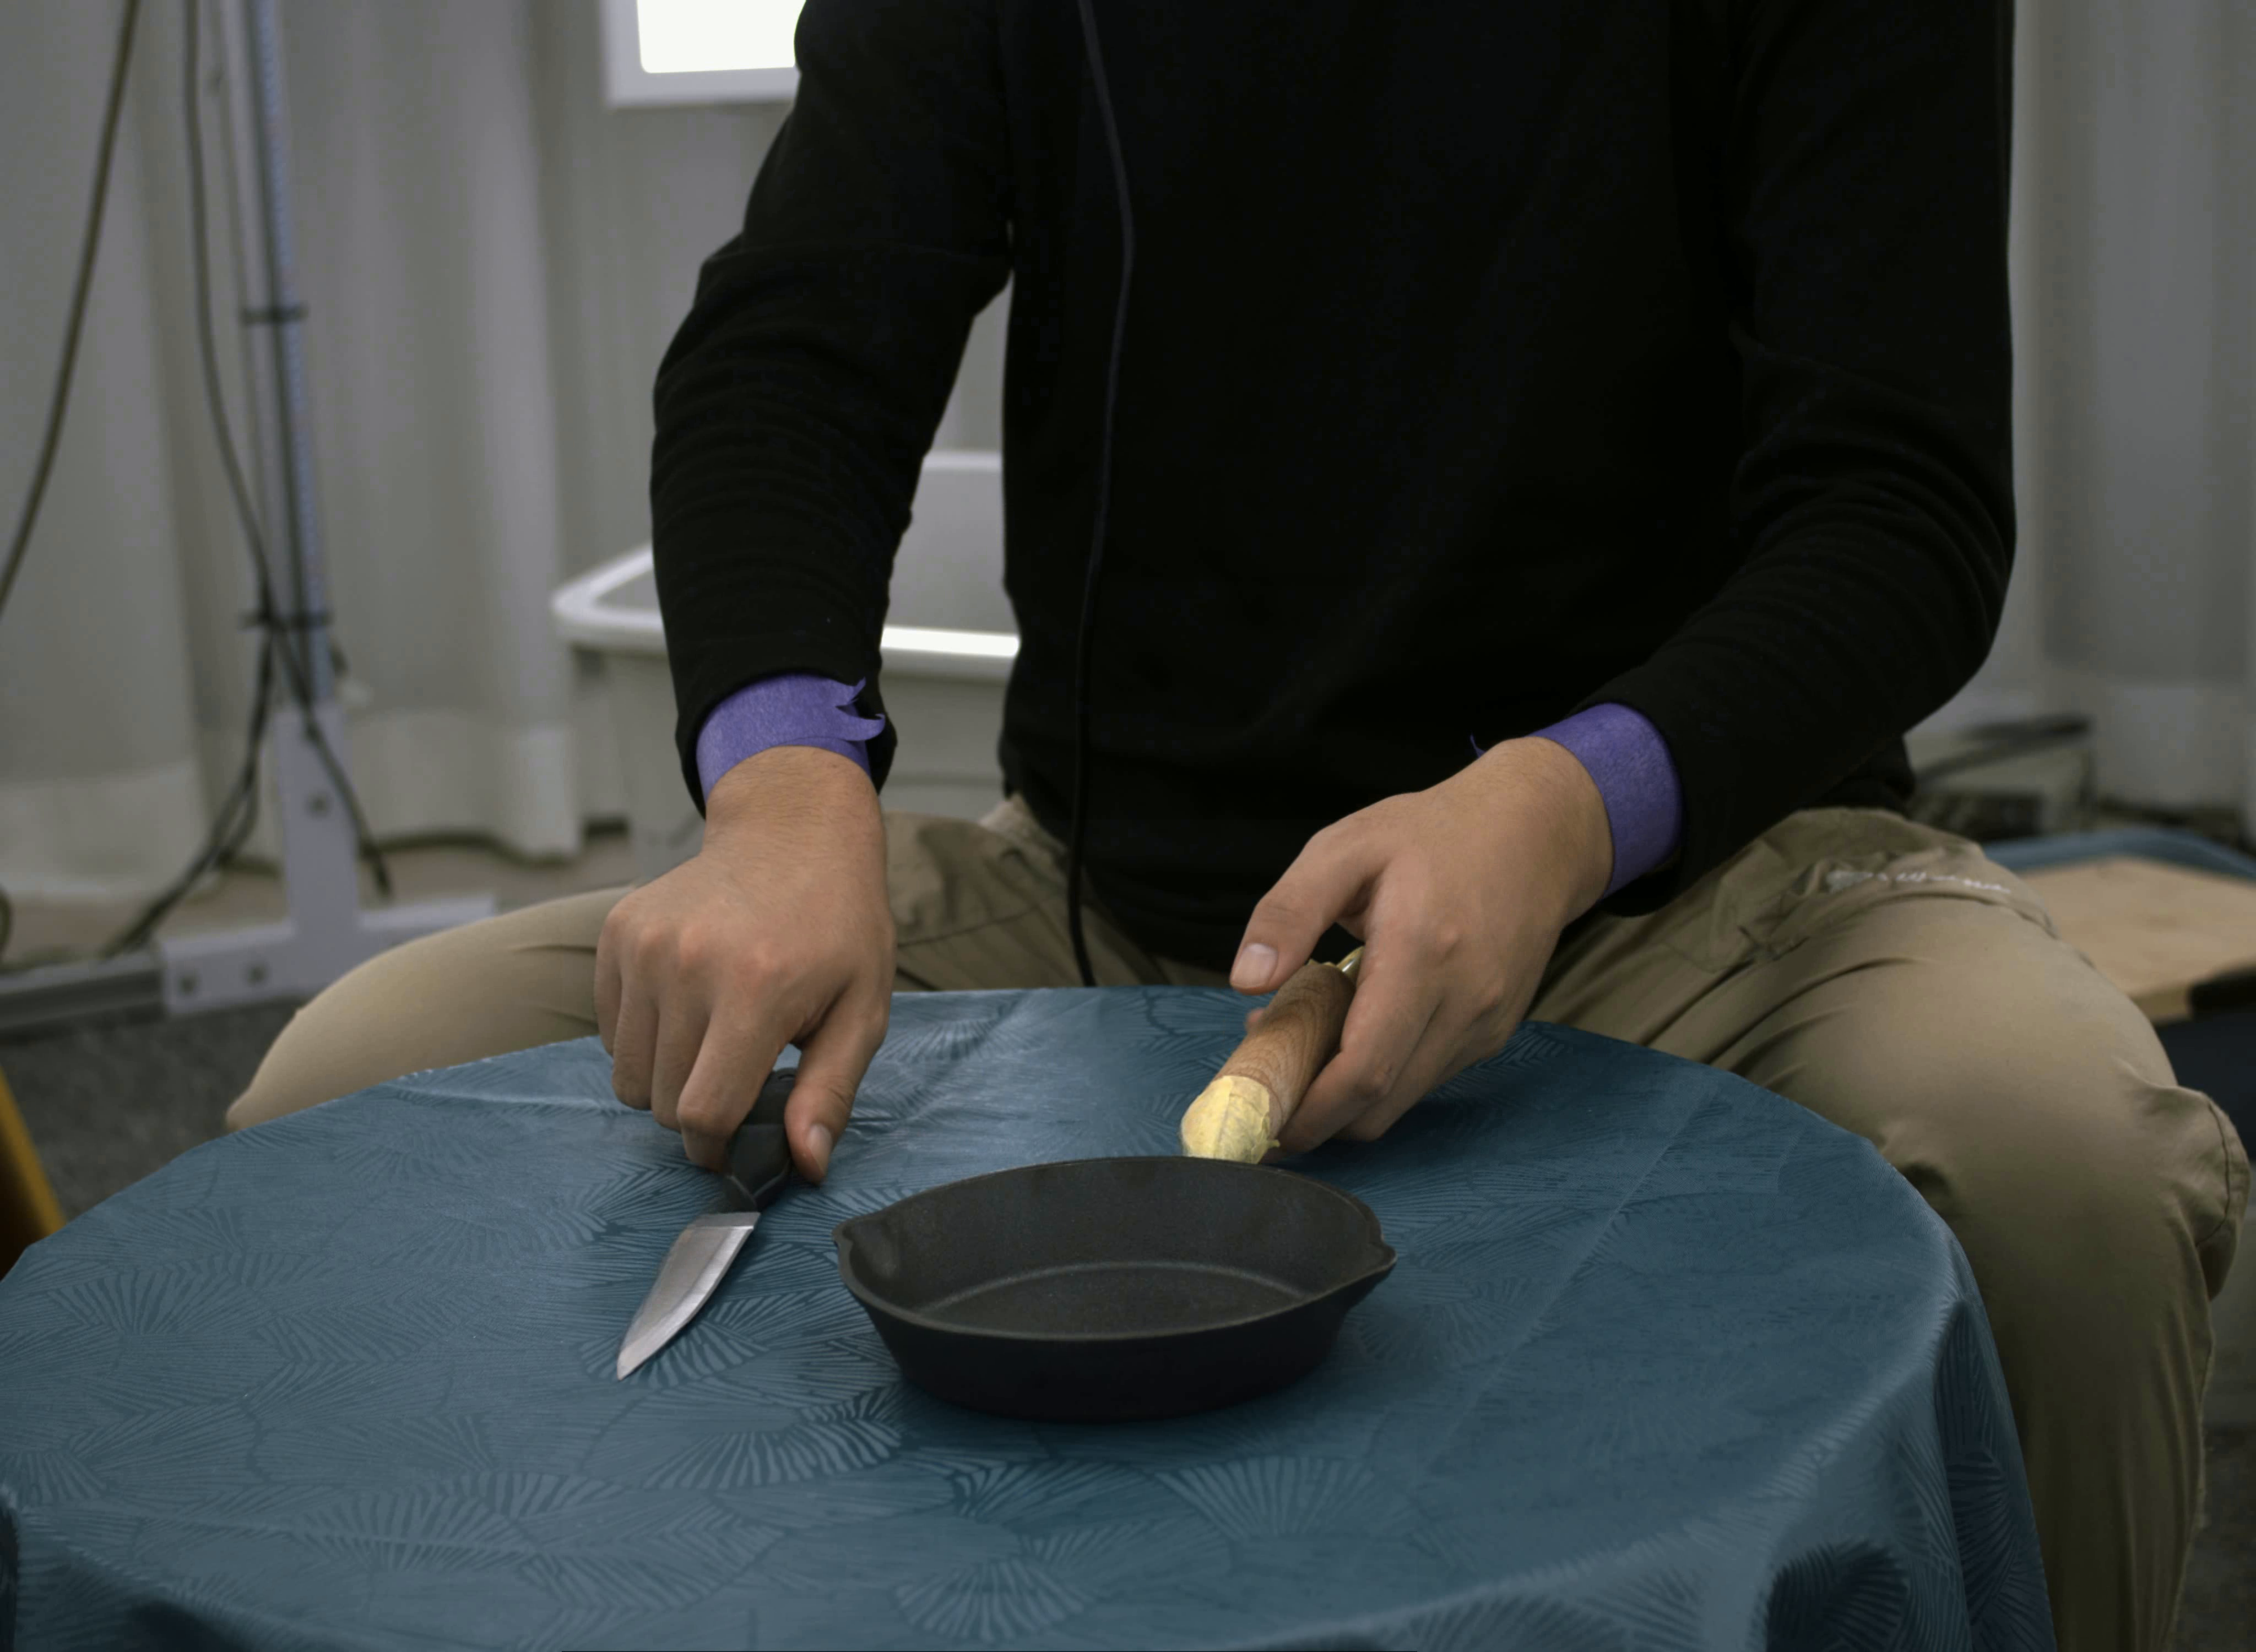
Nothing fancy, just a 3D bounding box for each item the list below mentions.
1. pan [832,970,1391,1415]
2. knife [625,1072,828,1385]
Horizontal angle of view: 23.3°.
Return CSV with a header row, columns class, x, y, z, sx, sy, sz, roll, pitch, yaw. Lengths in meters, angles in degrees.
class,x,y,z,sx,sy,sz,roll,pitch,yaw
pan,0.023,0.107,1.650,0.169,0.049,0.325,3,15,20
knife,-0.126,0.123,1.684,0.024,0.016,0.240,0,18,9
